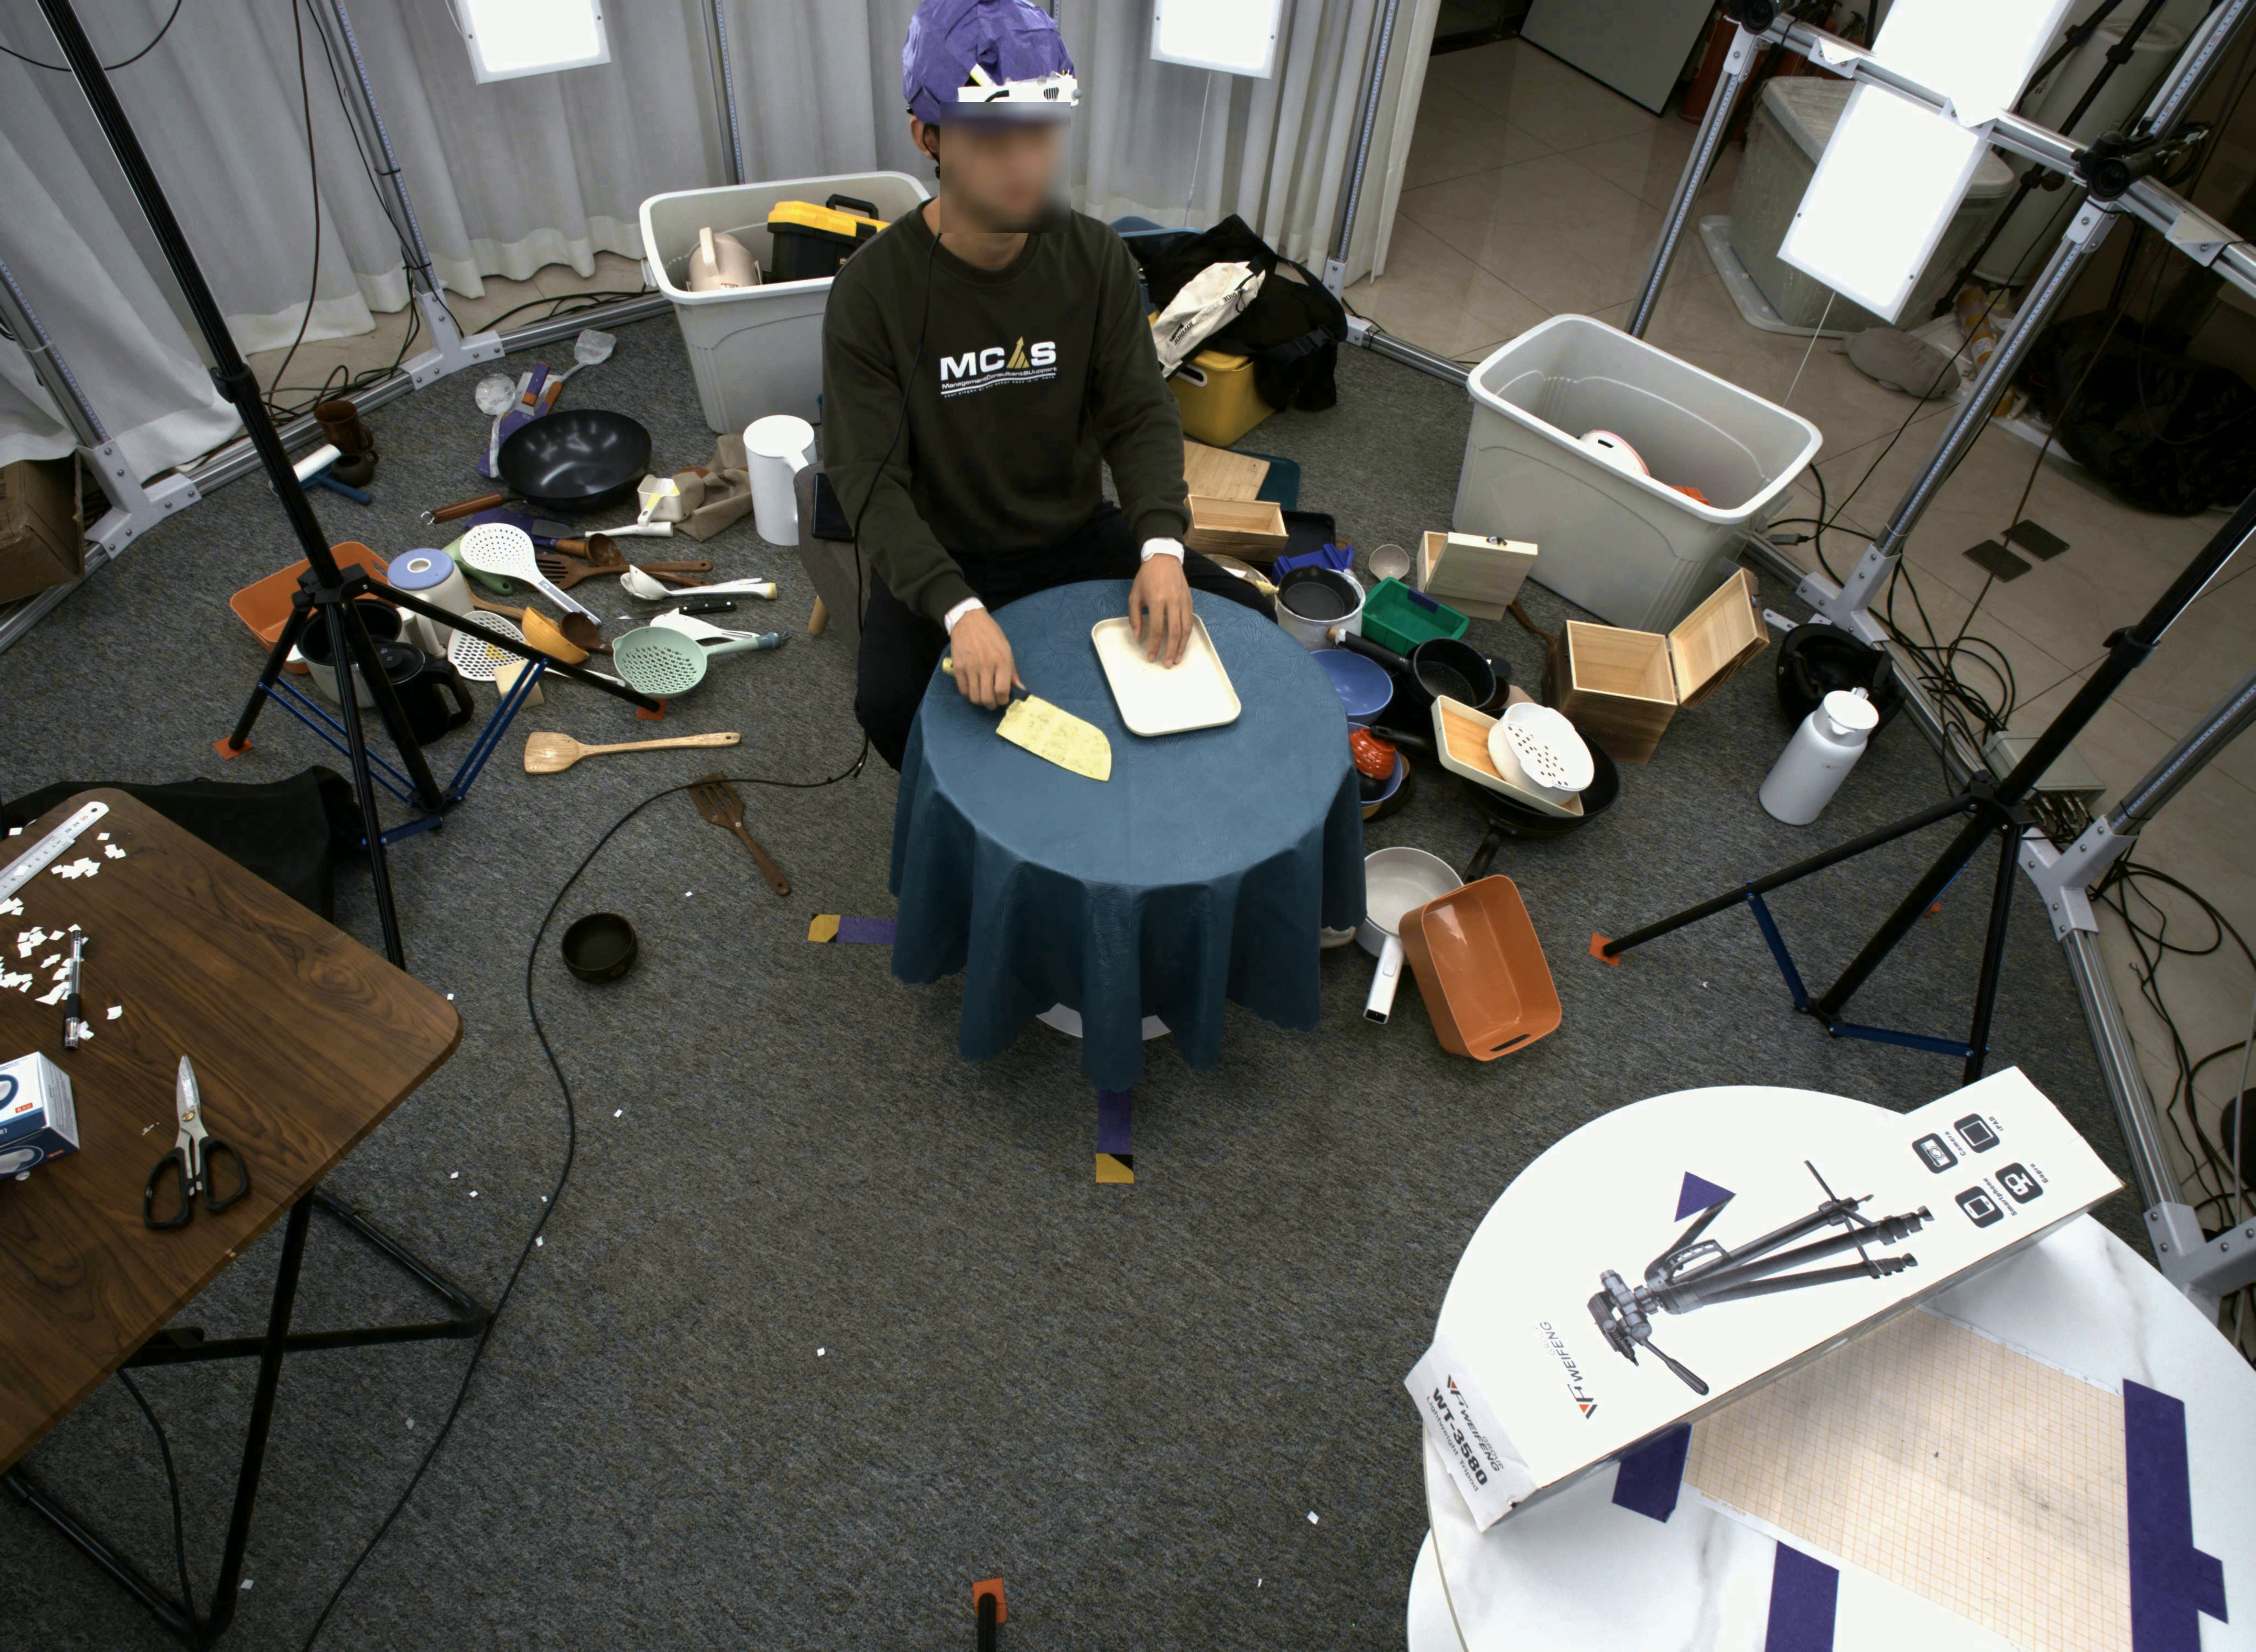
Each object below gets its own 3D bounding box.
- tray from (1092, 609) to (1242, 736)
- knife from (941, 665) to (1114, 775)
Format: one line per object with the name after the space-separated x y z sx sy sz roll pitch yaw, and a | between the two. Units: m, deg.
0.053 -0.223 1.852 0.171 0.017 0.245 -10 50 -12 | tray
-0.143 -0.146 1.763 0.292 0.026 0.082 29 67 17 | knife
